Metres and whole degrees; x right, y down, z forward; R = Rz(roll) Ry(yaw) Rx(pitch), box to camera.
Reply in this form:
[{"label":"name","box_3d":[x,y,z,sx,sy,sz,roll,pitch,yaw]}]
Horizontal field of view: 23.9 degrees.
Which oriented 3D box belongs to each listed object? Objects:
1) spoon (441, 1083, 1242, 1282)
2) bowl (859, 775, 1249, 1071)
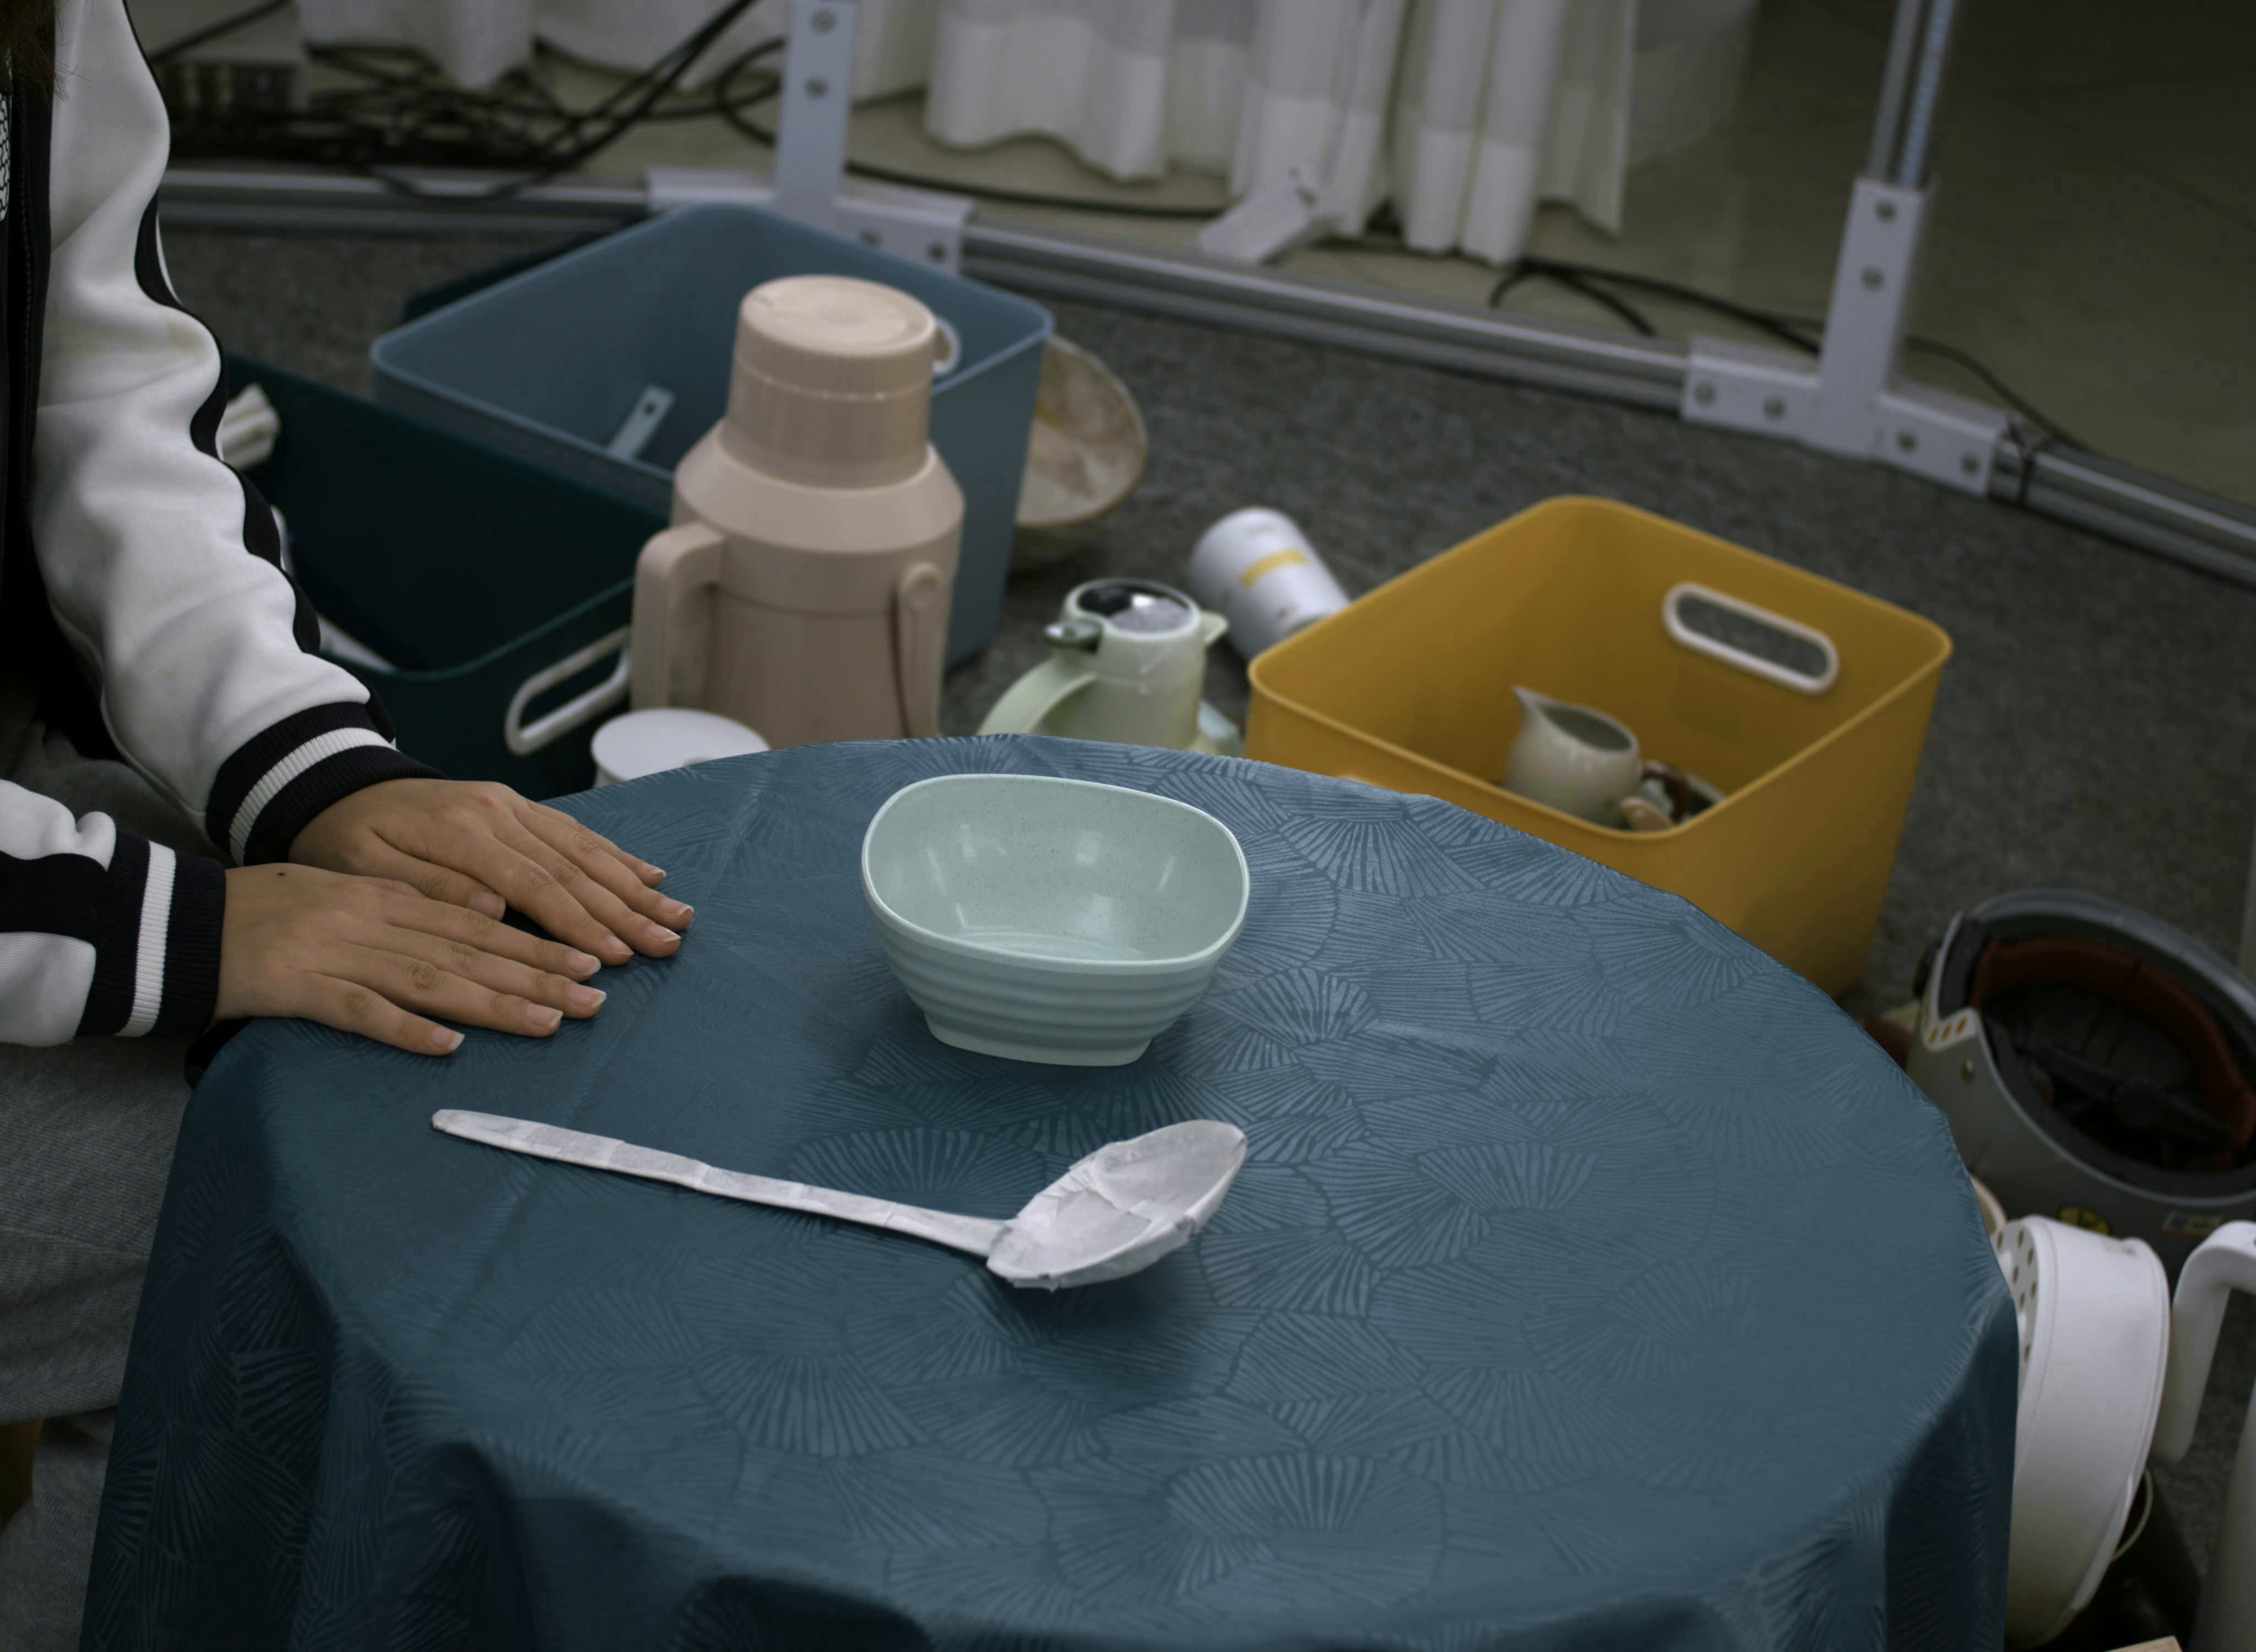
[{"label":"spoon","box_3d":[-0.098,0.099,1.767,0.278,0.059,0.101,14,23,14]},{"label":"bowl","box_3d":[-0.029,0.040,1.900,0.151,0.058,0.152,5,28,-3]}]
